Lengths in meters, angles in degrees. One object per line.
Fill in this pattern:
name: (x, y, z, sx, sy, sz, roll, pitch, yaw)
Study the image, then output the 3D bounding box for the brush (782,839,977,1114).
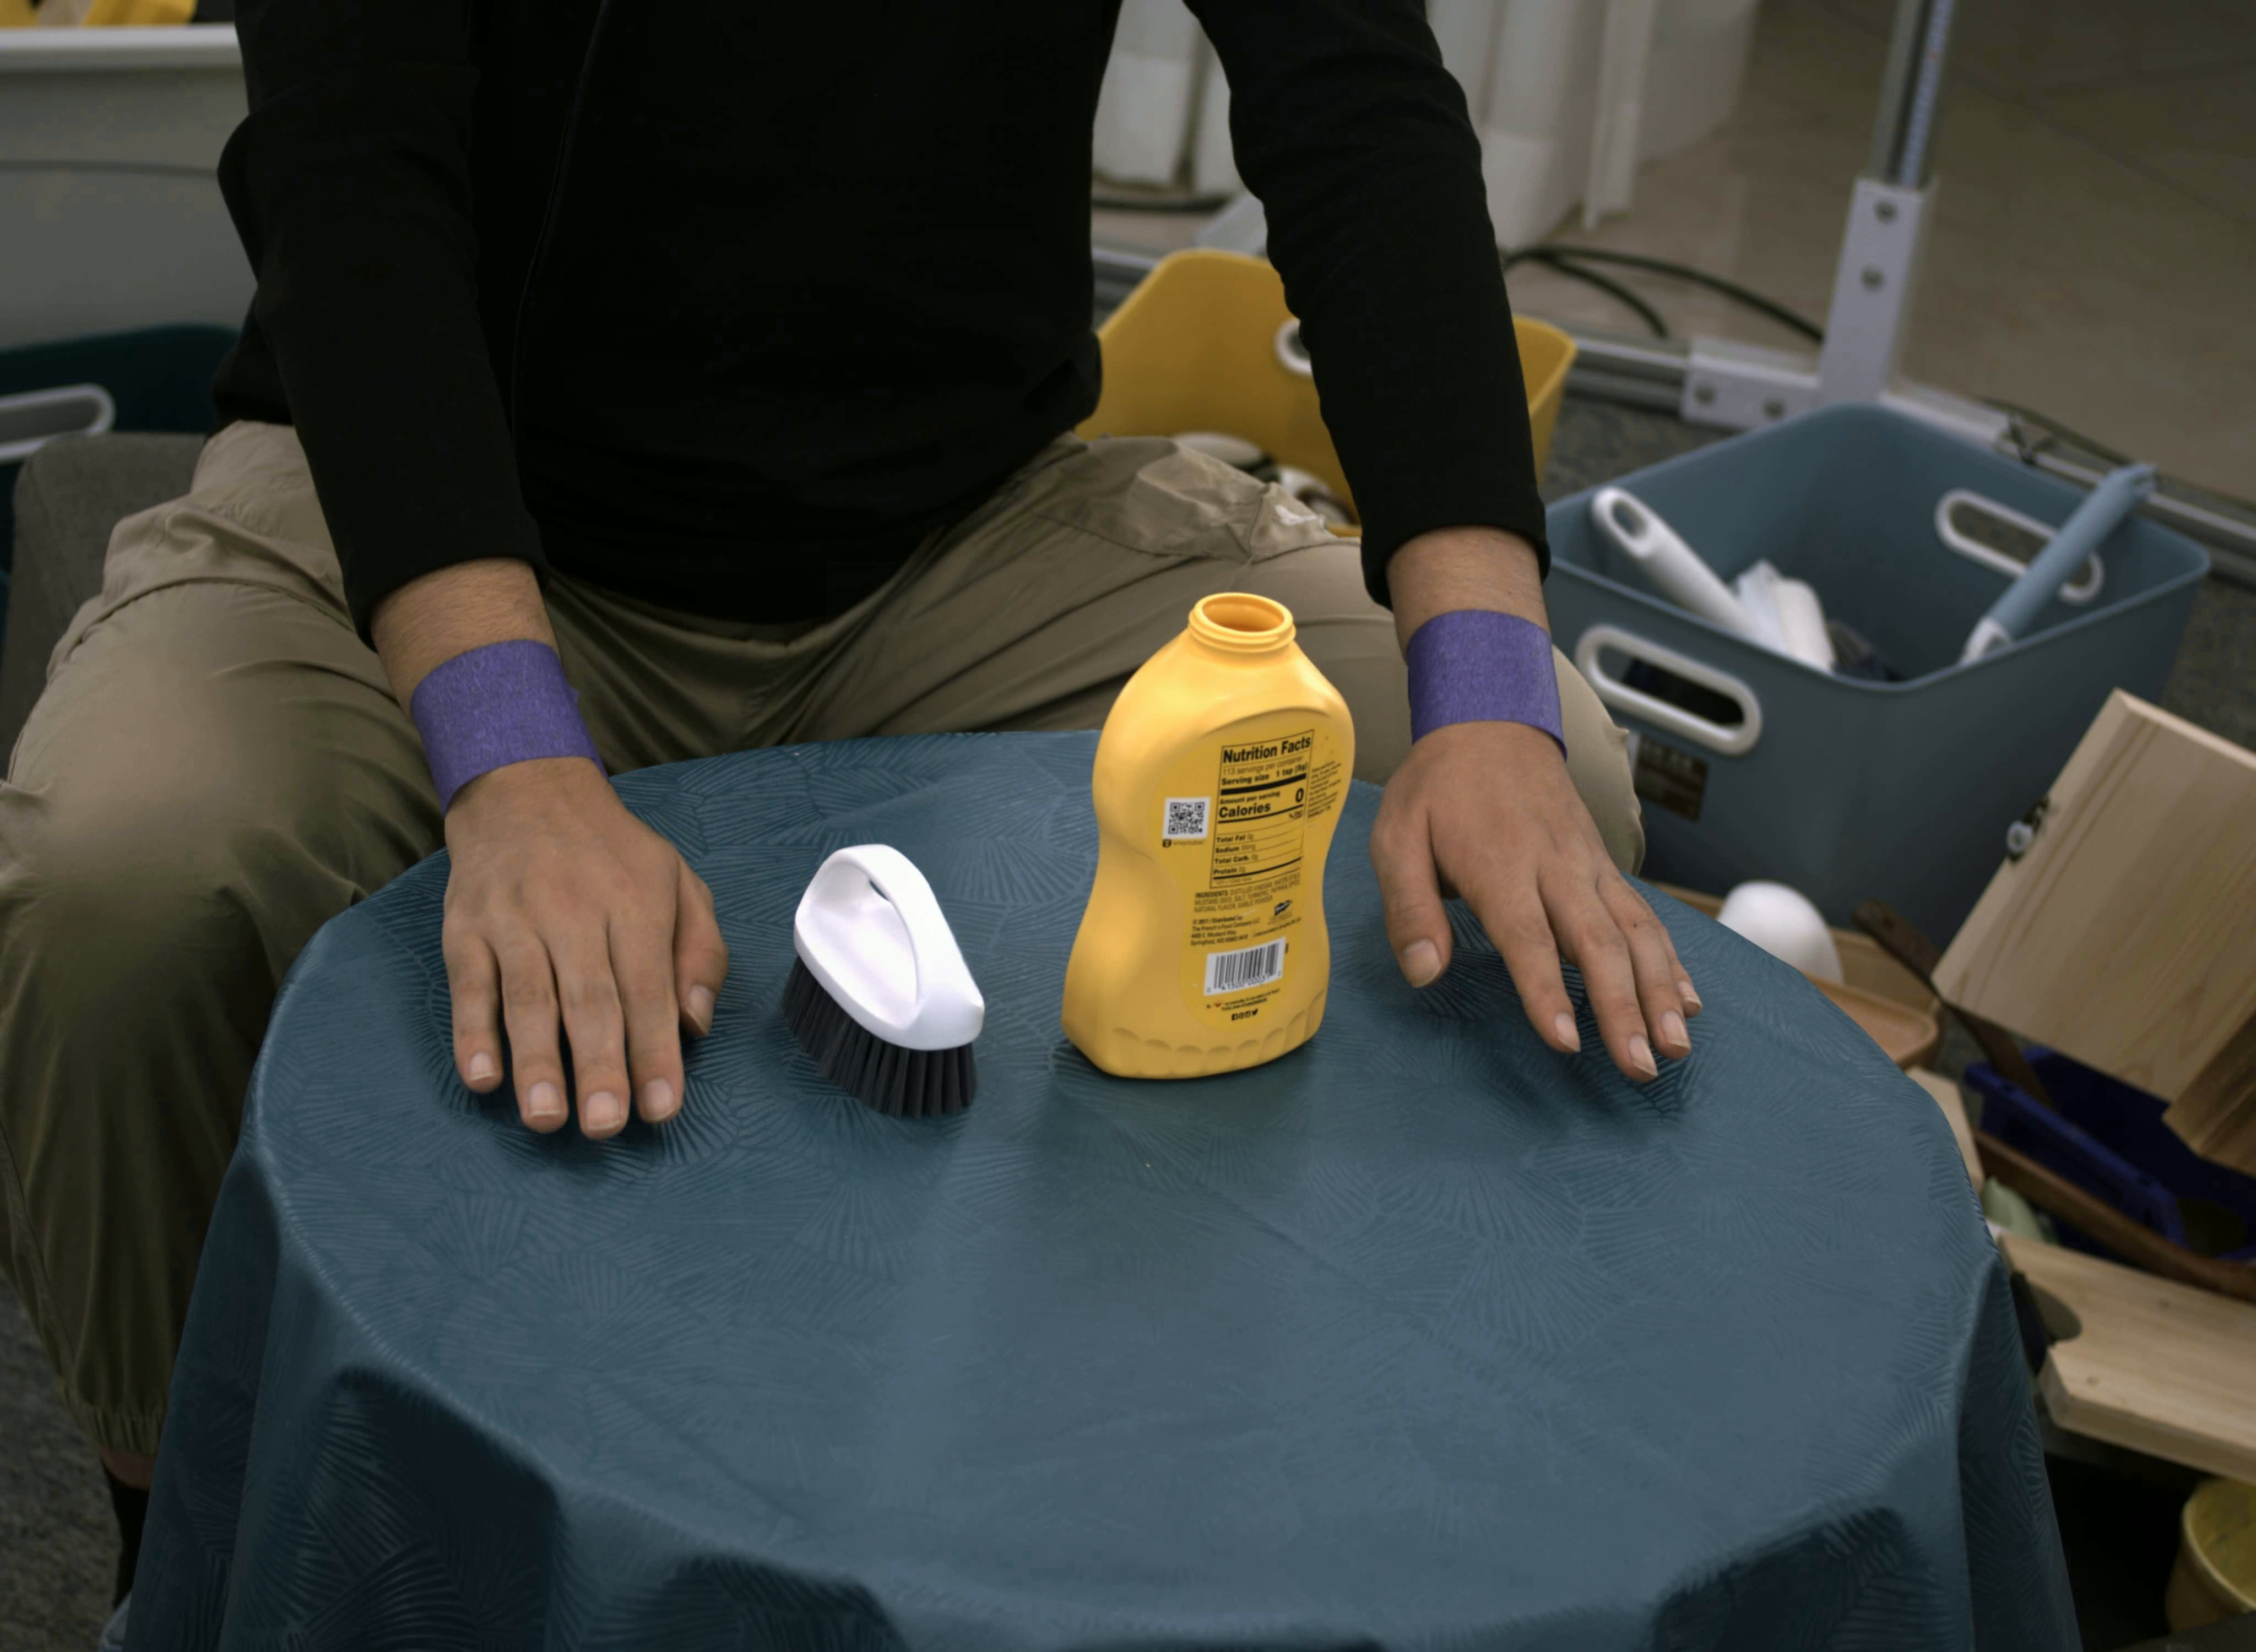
brush: (-0.085, 0.046, 1.853, 0.050, 0.072, 0.100, -5, 30, -26)

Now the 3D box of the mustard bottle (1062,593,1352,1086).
mustard bottle: (0.029, 0.003, 1.859, 0.097, 0.171, 0.060, -11, 29, -29)
